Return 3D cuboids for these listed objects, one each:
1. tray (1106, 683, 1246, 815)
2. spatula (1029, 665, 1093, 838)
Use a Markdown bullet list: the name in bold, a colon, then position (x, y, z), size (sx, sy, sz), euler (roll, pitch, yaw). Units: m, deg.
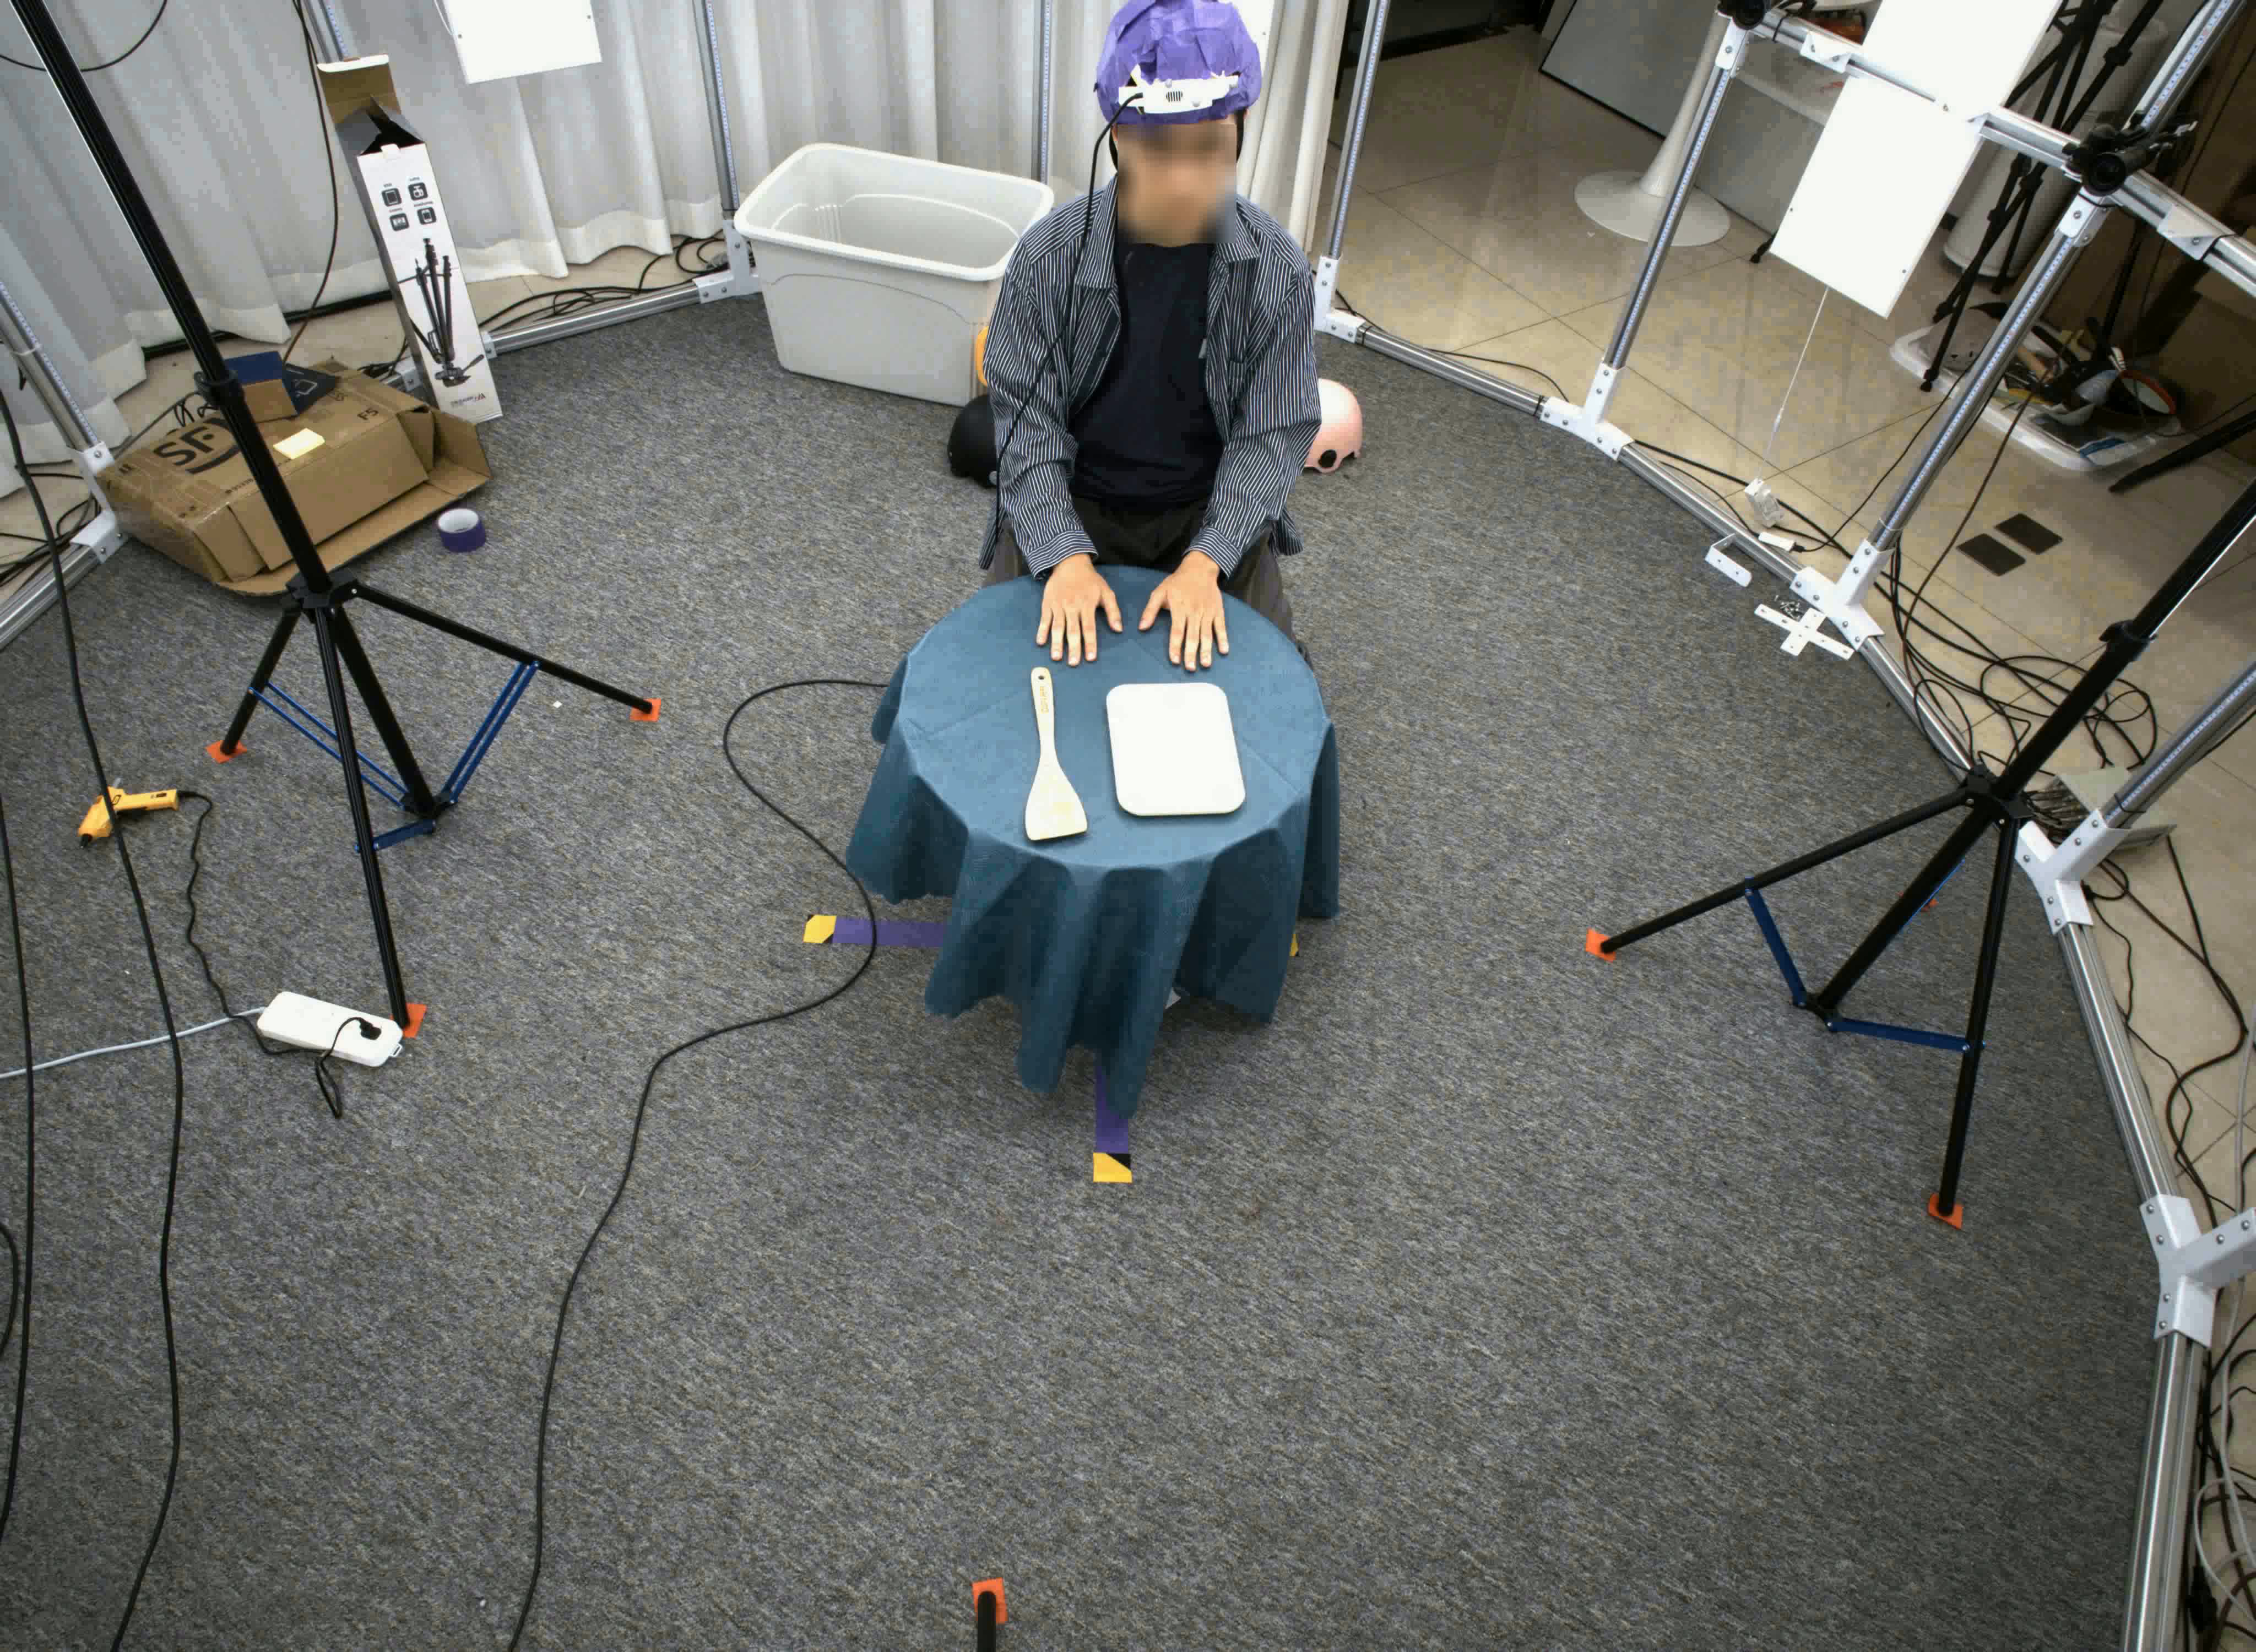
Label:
- **tray**: position (0.062, -0.106, 1.744), size (0.171, 0.017, 0.246), euler (-1, 48, -7)
- **spatula**: position (-0.105, -0.108, 1.732), size (0.080, 0.016, 0.336), euler (-3, 49, -9)
